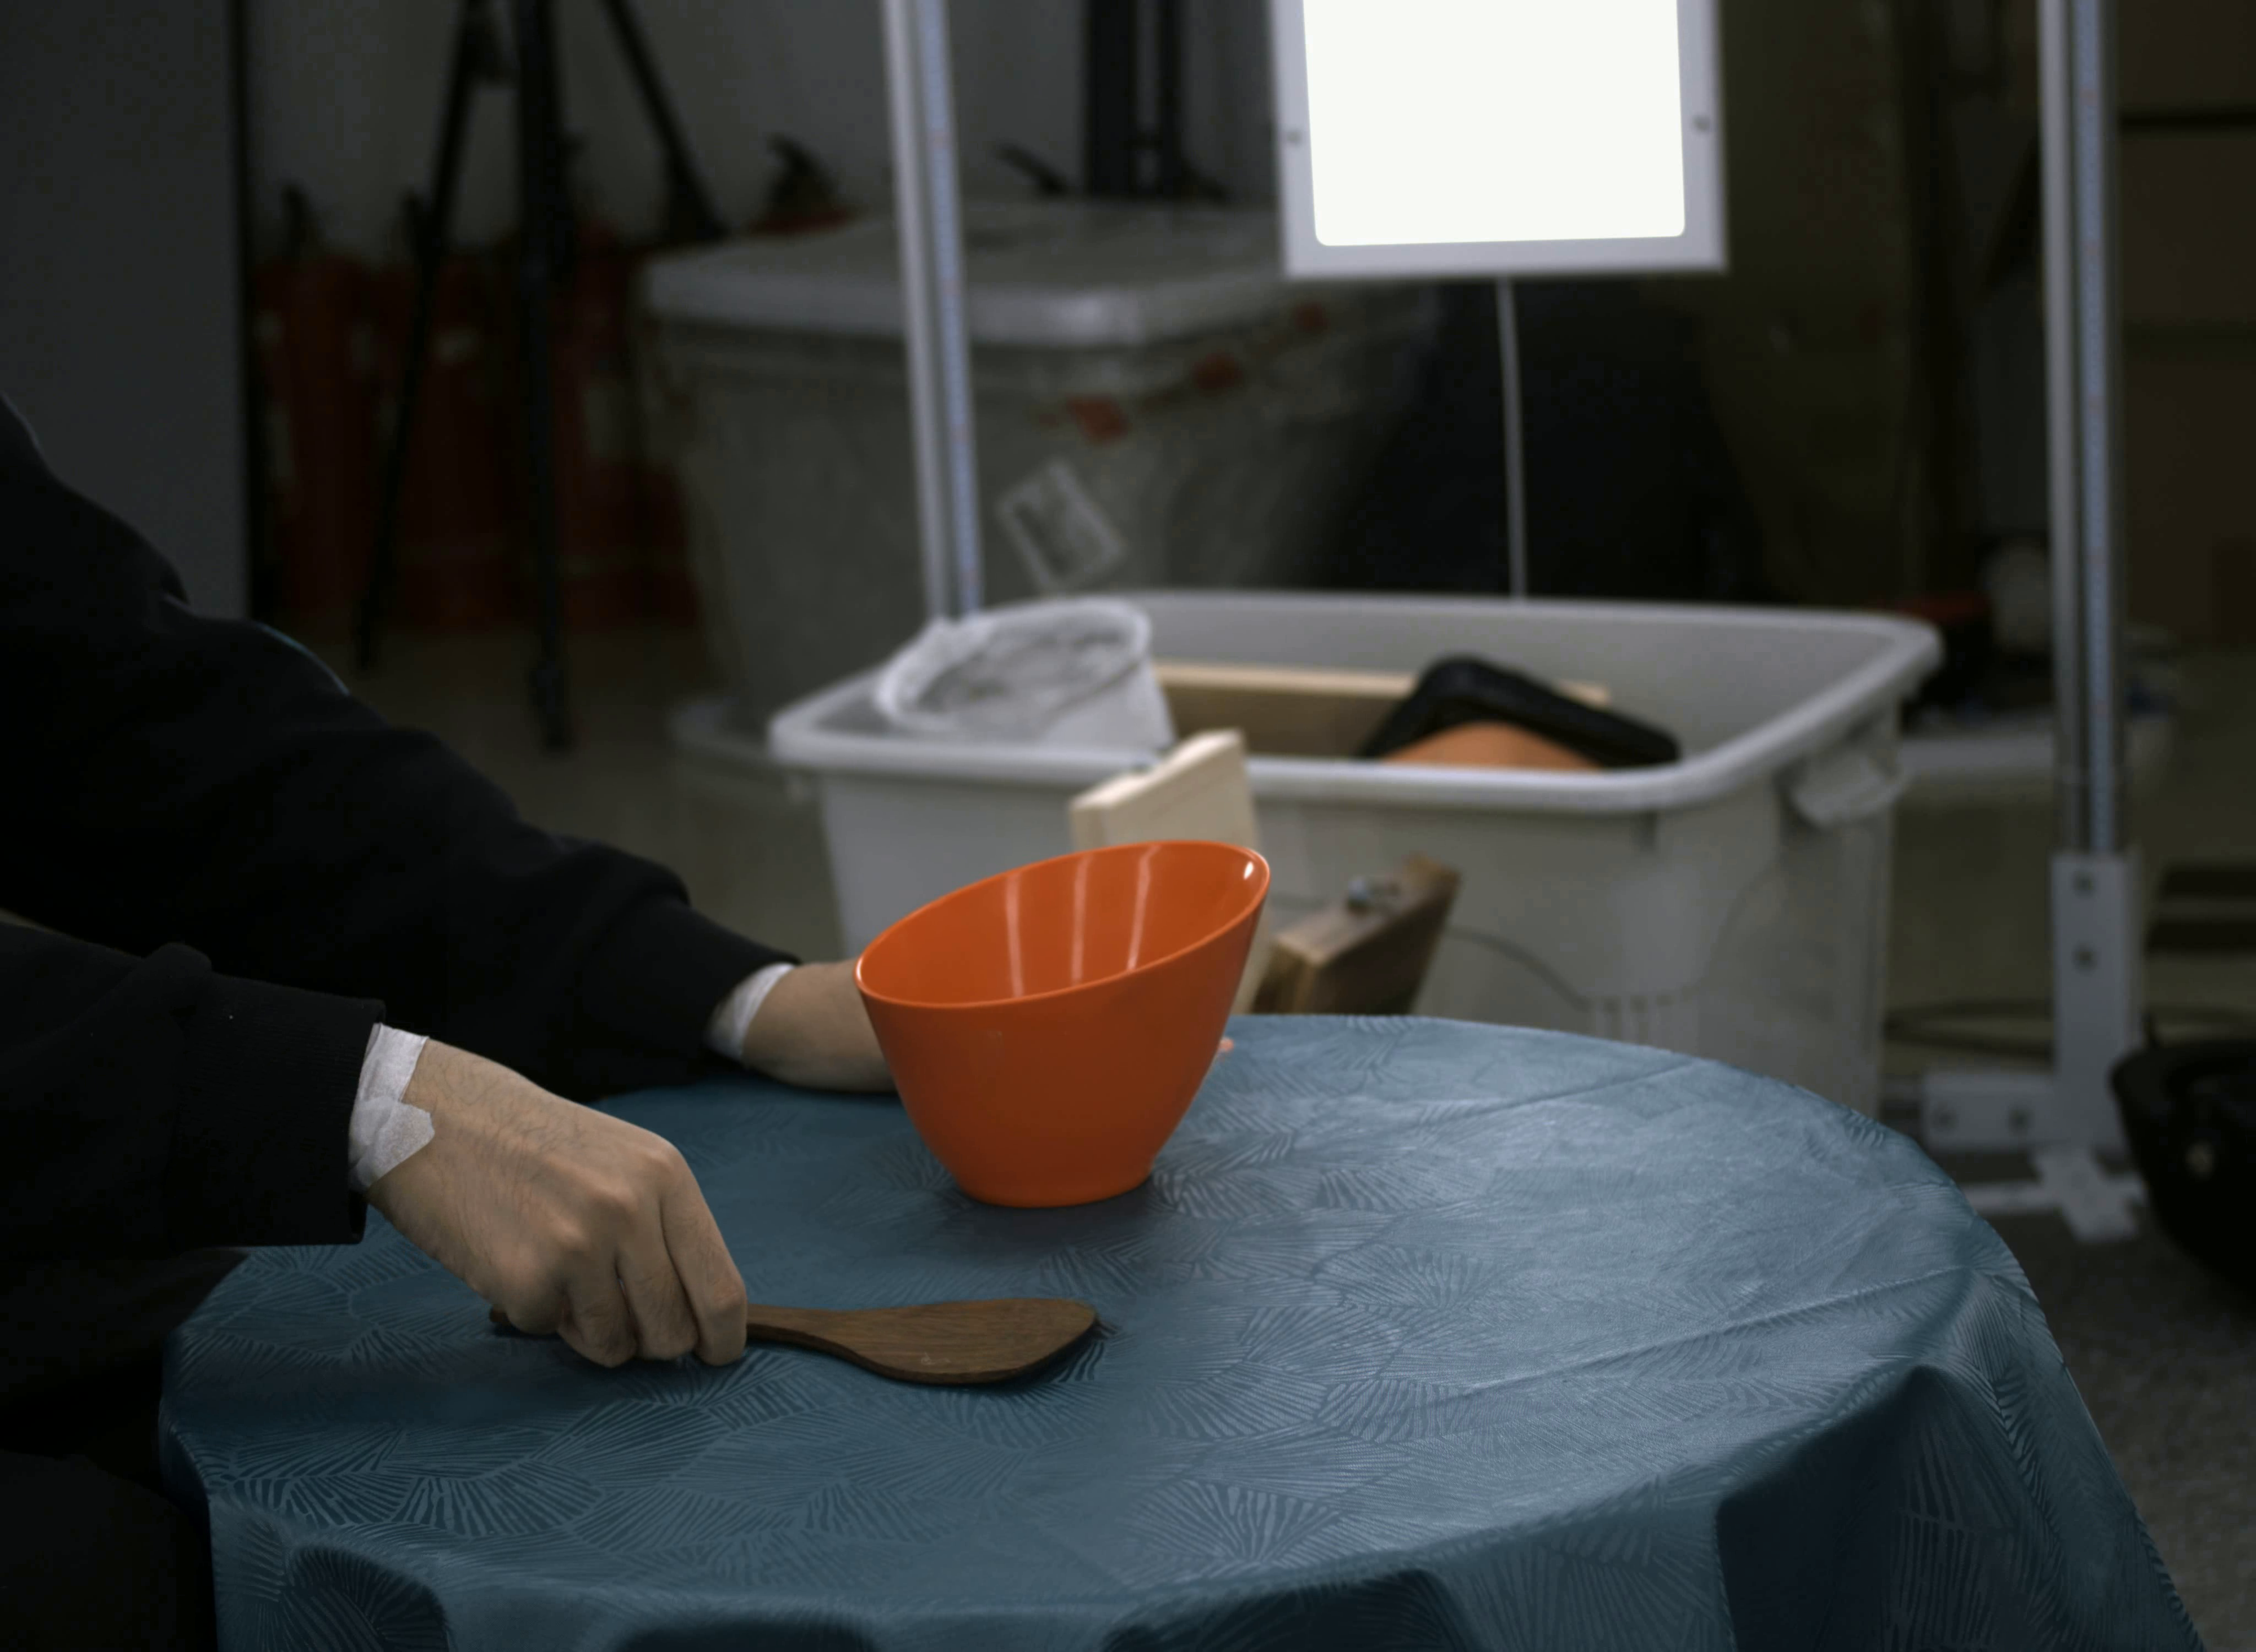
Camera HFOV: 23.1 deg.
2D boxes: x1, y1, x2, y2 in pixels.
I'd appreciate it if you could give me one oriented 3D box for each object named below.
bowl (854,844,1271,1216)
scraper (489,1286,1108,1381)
[{"bbox_3d":[-0.018,0.074,1.910,0.148,0.105,0.148,-6,15,0],"label":"bowl"},{"bbox_3d":[-0.110,0.160,1.779,0.215,0.011,0.074,2,14,25],"label":"scraper"}]
